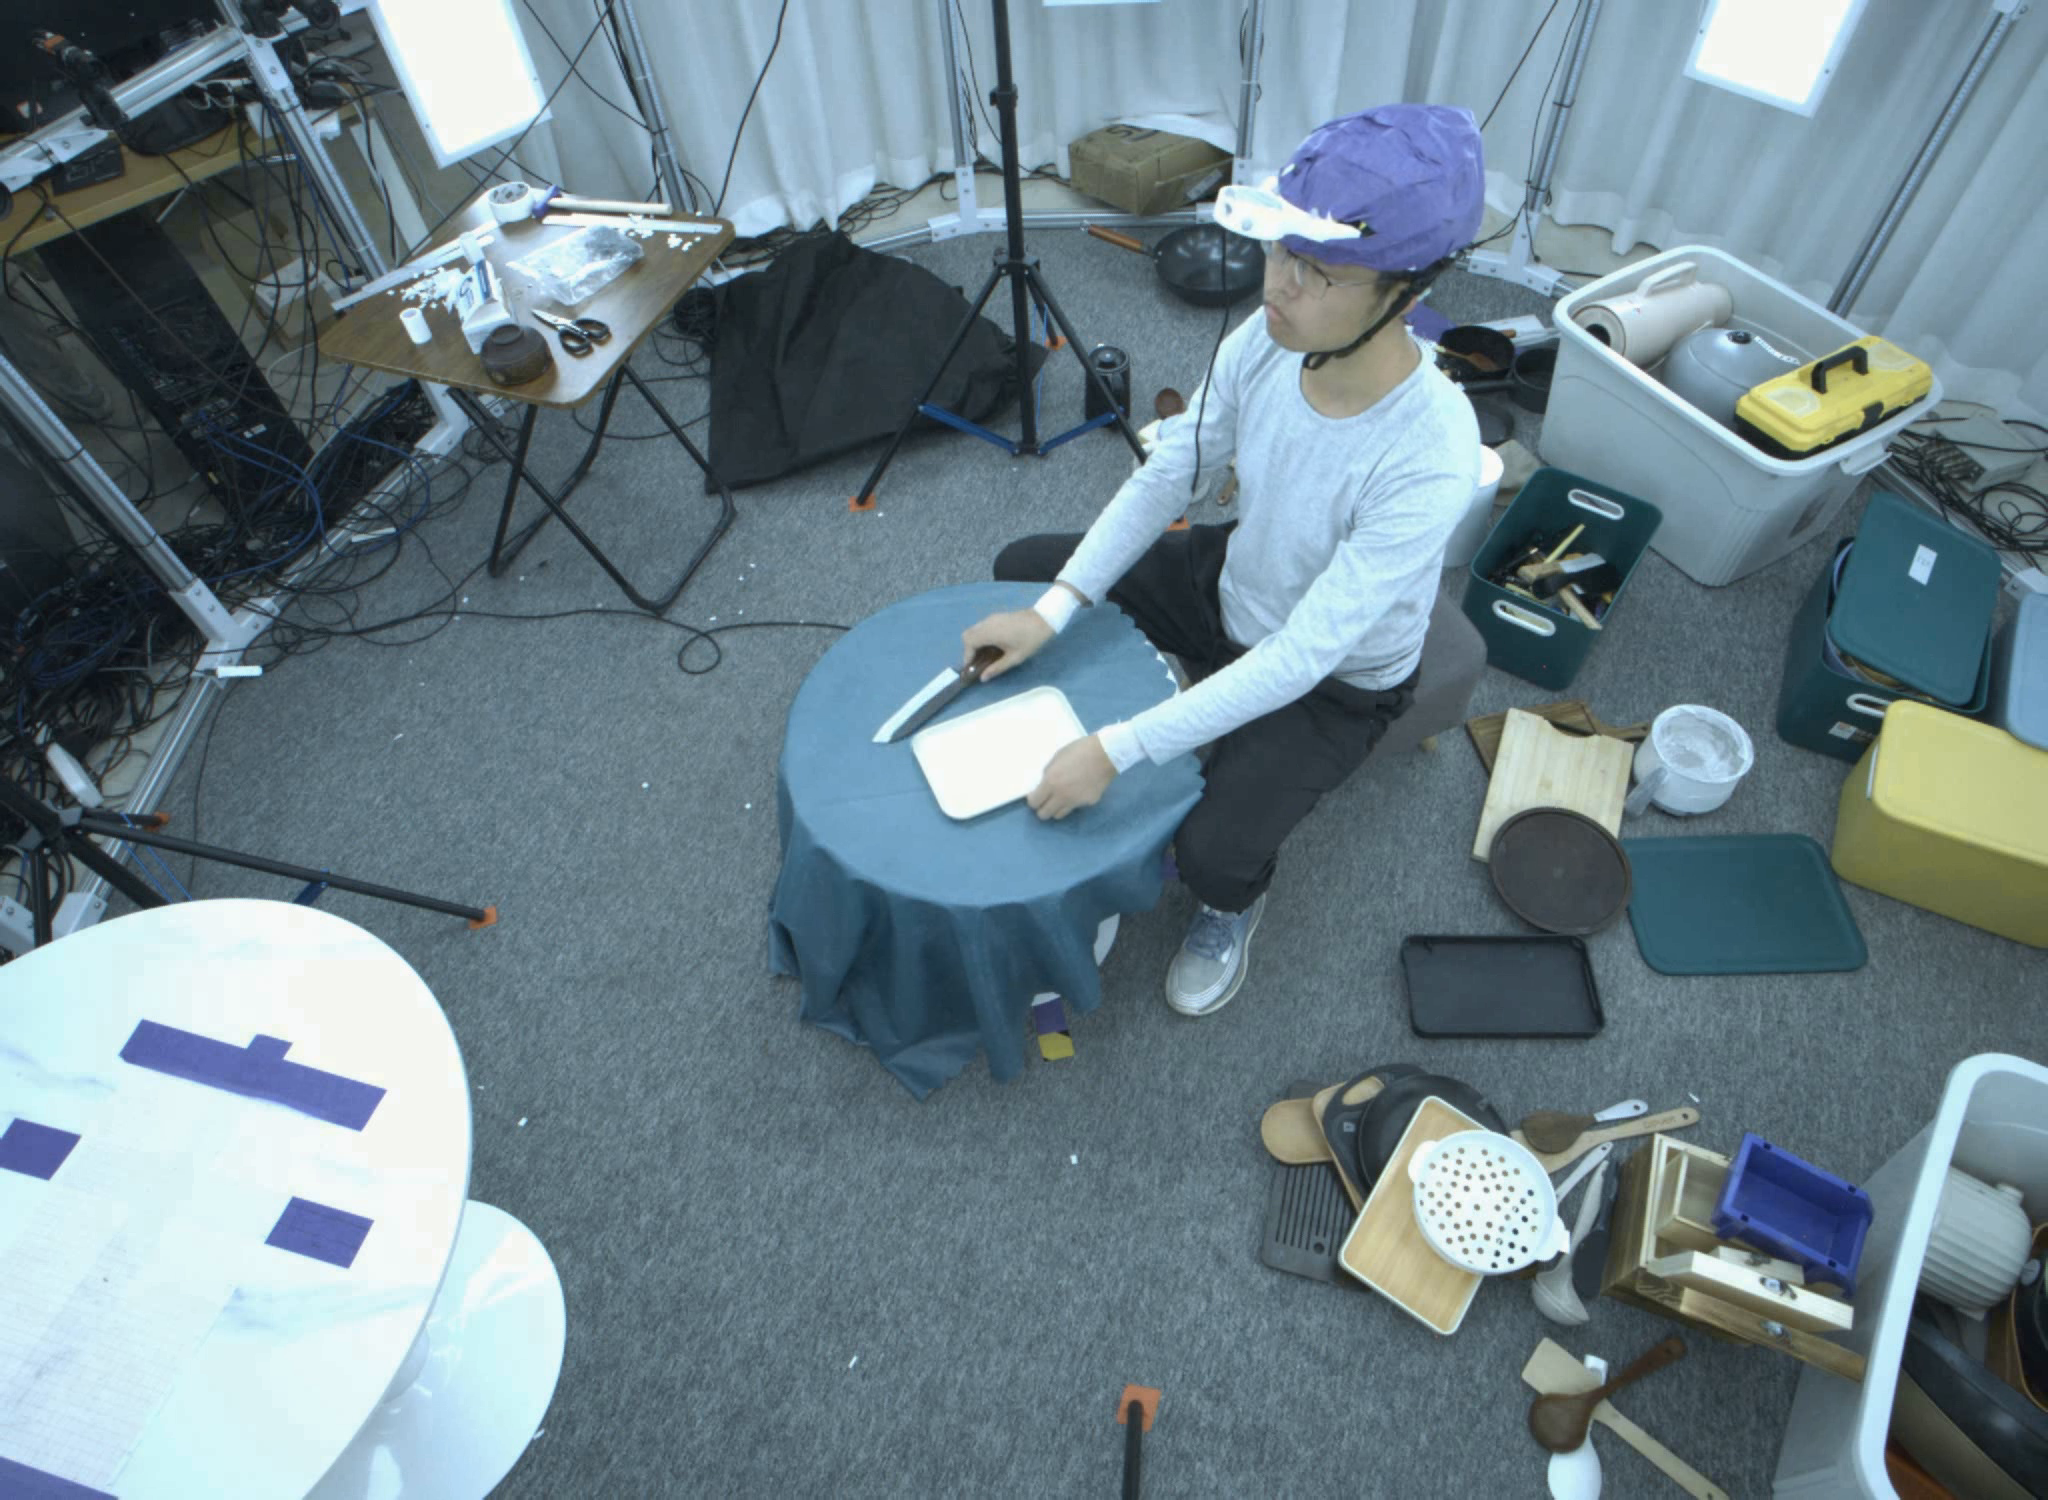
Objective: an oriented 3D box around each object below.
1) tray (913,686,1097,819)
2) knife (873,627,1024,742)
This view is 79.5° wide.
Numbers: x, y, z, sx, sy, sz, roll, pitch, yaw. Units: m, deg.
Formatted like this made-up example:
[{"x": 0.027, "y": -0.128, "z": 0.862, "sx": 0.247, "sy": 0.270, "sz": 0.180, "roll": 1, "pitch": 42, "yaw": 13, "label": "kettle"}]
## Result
[{"x": -0.028, "y": 0.003, "z": 1.783, "sx": 0.241, "sy": 0.017, "sz": 0.168, "roll": -20, "pitch": 57, "yaw": -13, "label": "tray"}, {"x": -0.113, "y": -0.098, "z": 1.850, "sx": 0.291, "sy": 0.020, "sz": 0.049, "roll": -39, "pitch": 63, "yaw": -18, "label": "knife"}]
